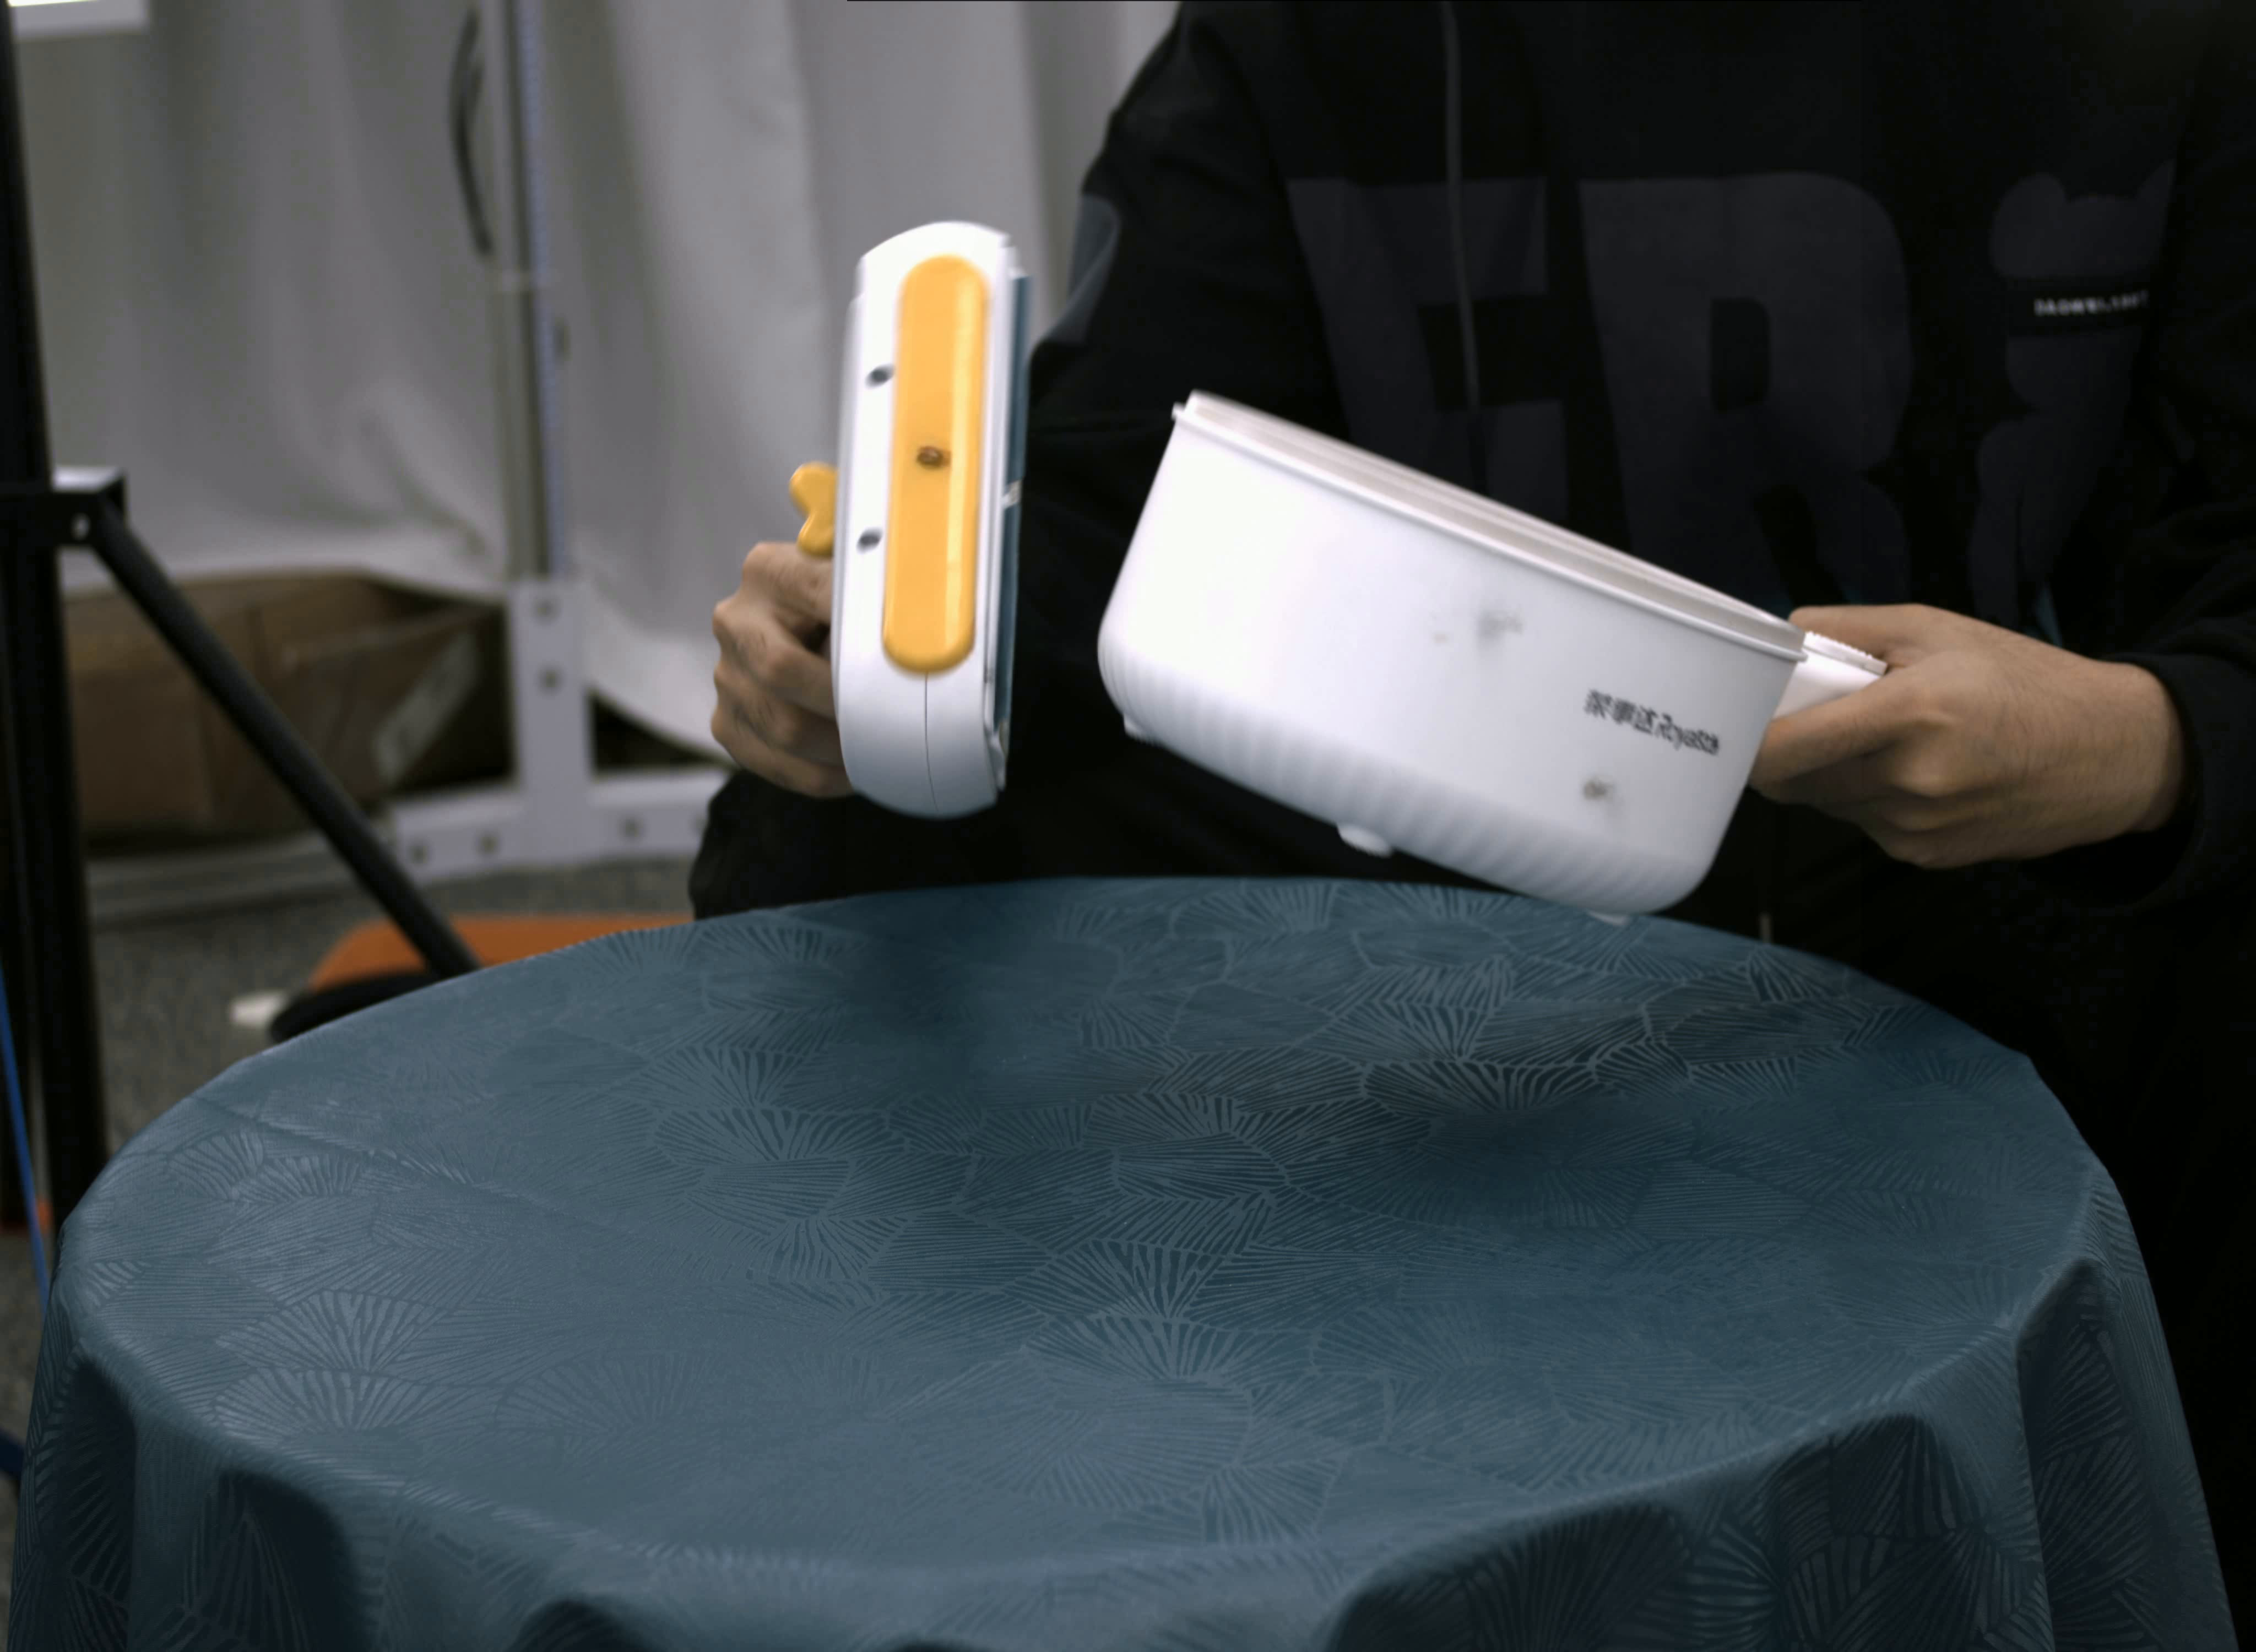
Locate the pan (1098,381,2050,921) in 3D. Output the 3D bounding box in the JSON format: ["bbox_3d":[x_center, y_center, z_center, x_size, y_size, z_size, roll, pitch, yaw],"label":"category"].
[{"bbox_3d":[0.145,-0.031,1.616,0.345,0.102,0.206,18,7,-40],"label":"pan"}]

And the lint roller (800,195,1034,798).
[{"bbox_3d":[-0.067,-0.073,1.679,0.073,0.191,0.195,0,58,-4],"label":"lint roller"}]
